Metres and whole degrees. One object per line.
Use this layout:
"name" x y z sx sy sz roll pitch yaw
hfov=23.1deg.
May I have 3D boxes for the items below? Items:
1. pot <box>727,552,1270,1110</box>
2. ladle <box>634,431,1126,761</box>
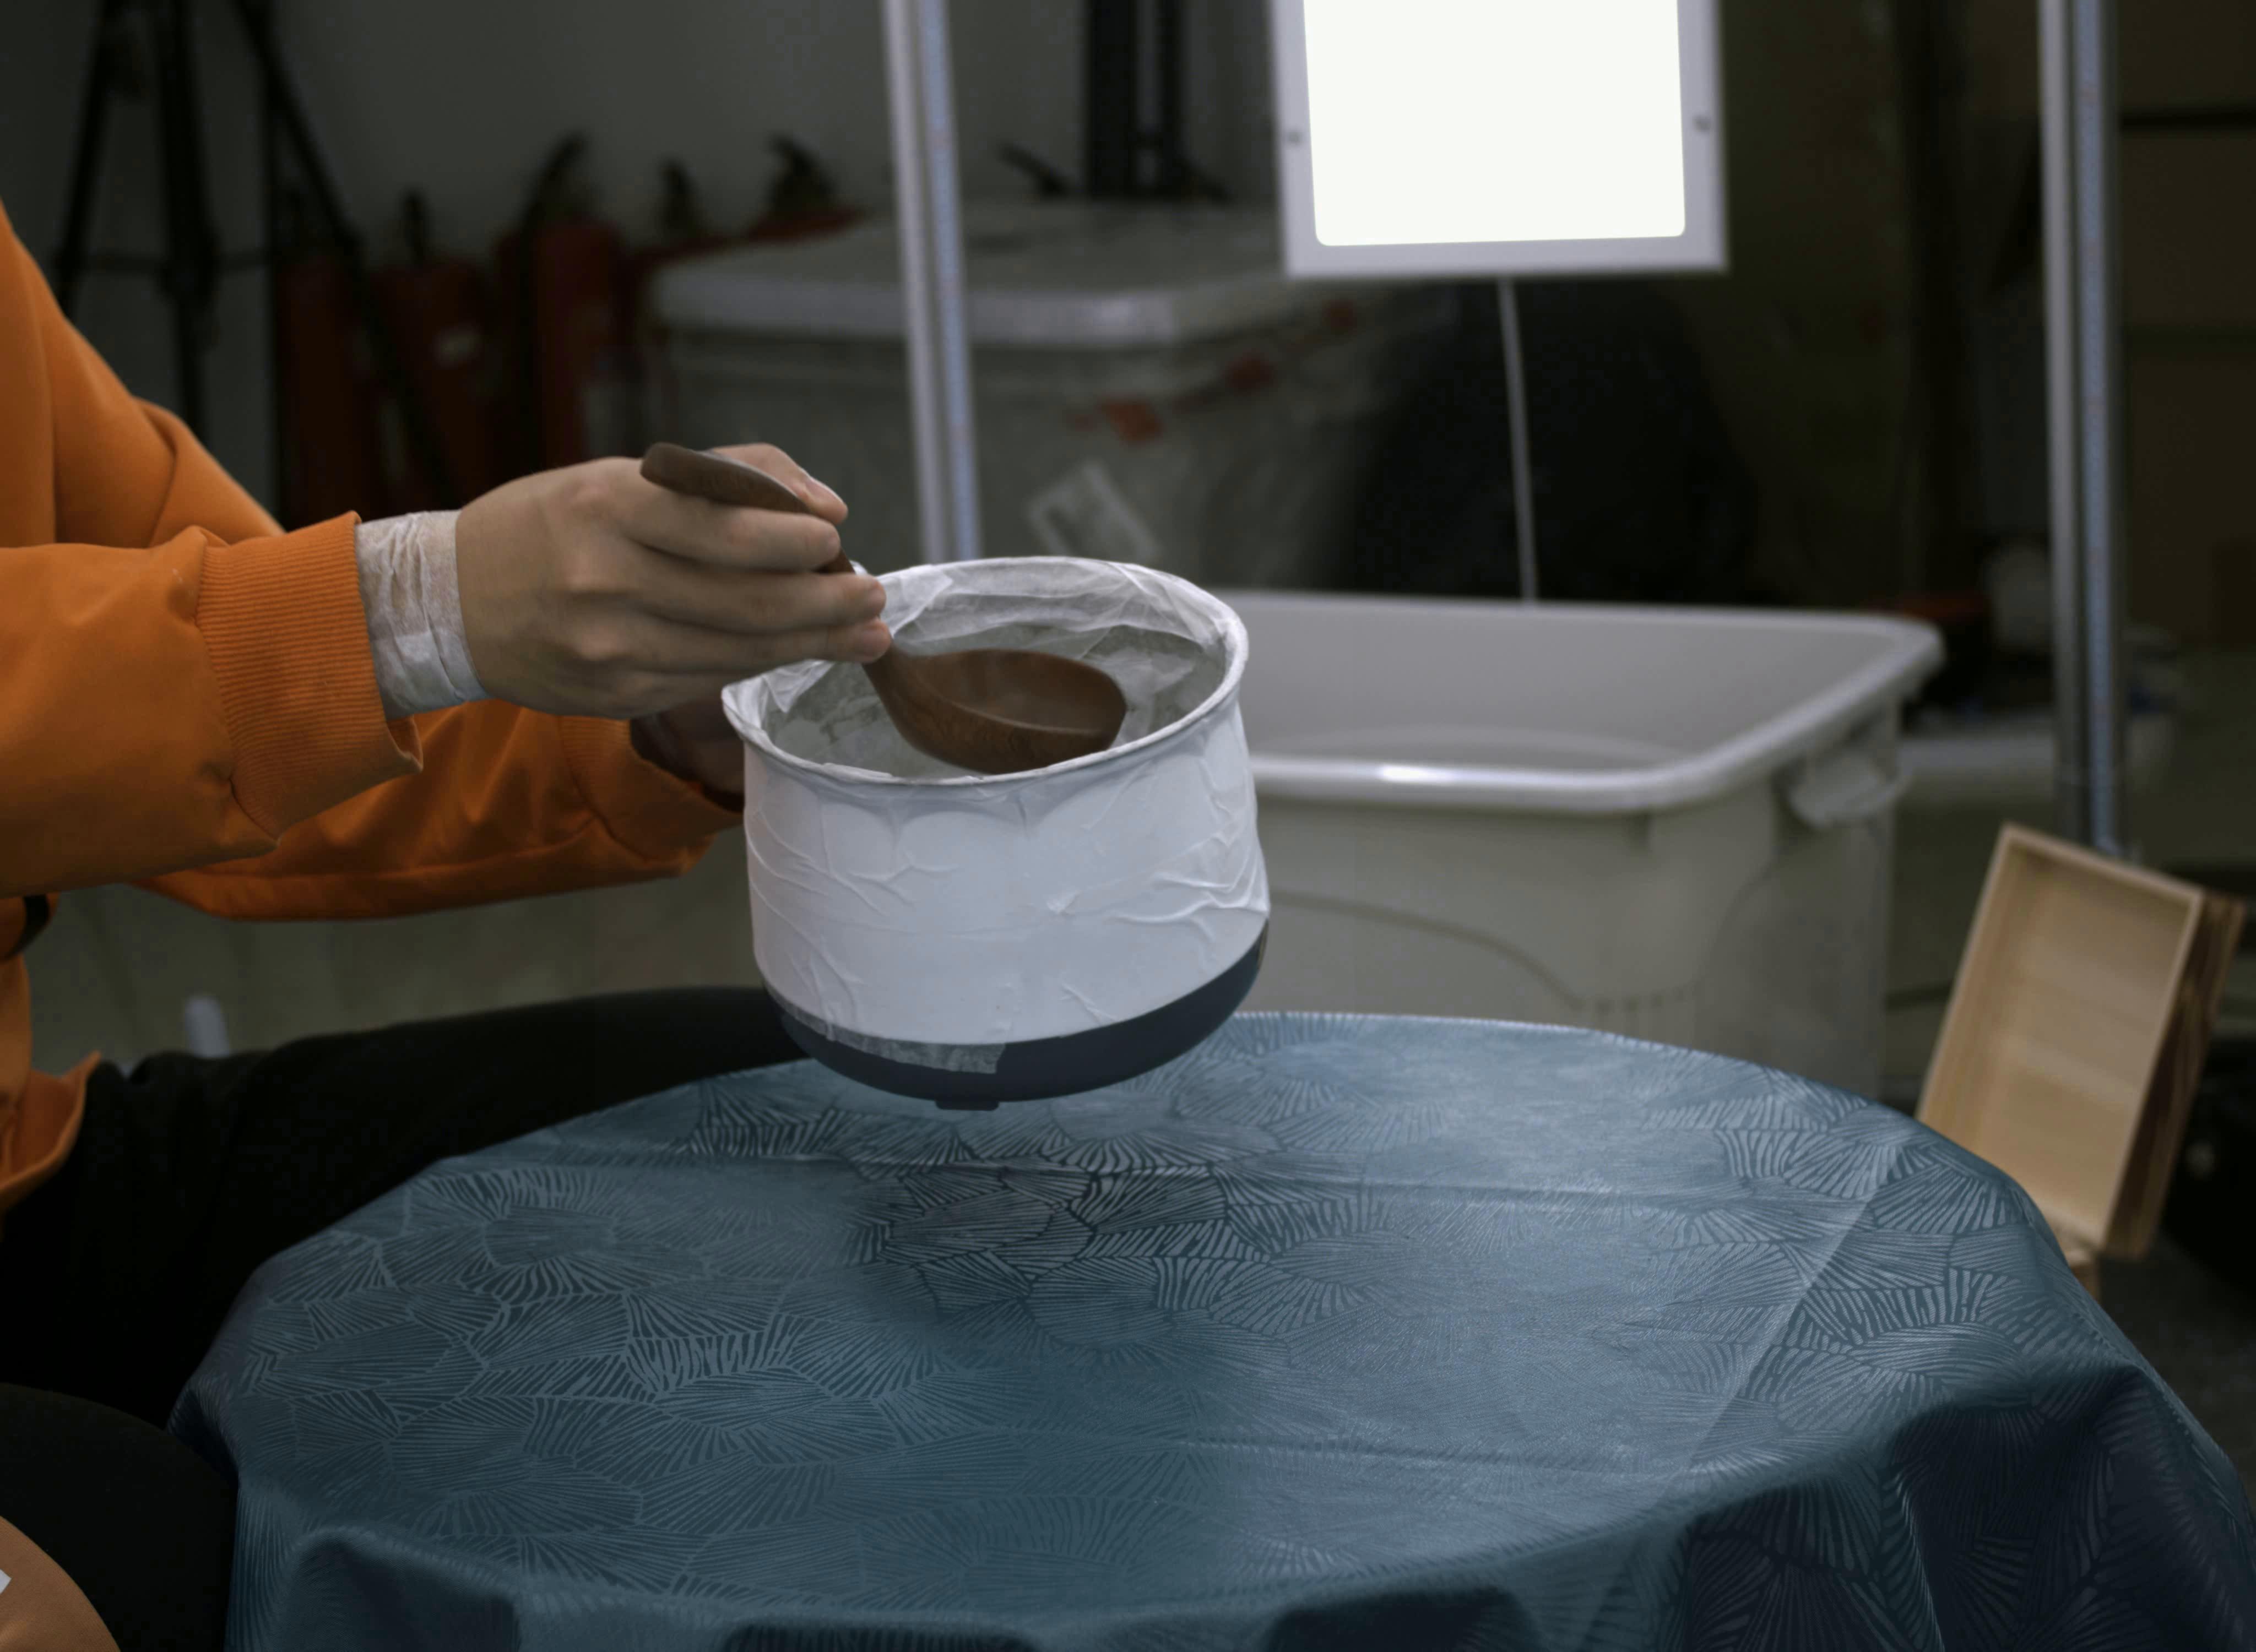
"pot" -0.057 -0.007 1.880 0.175 0.137 0.237 -19 30 -26
"ladle" -0.079 -0.081 1.754 0.078 0.065 0.256 15 -18 33
